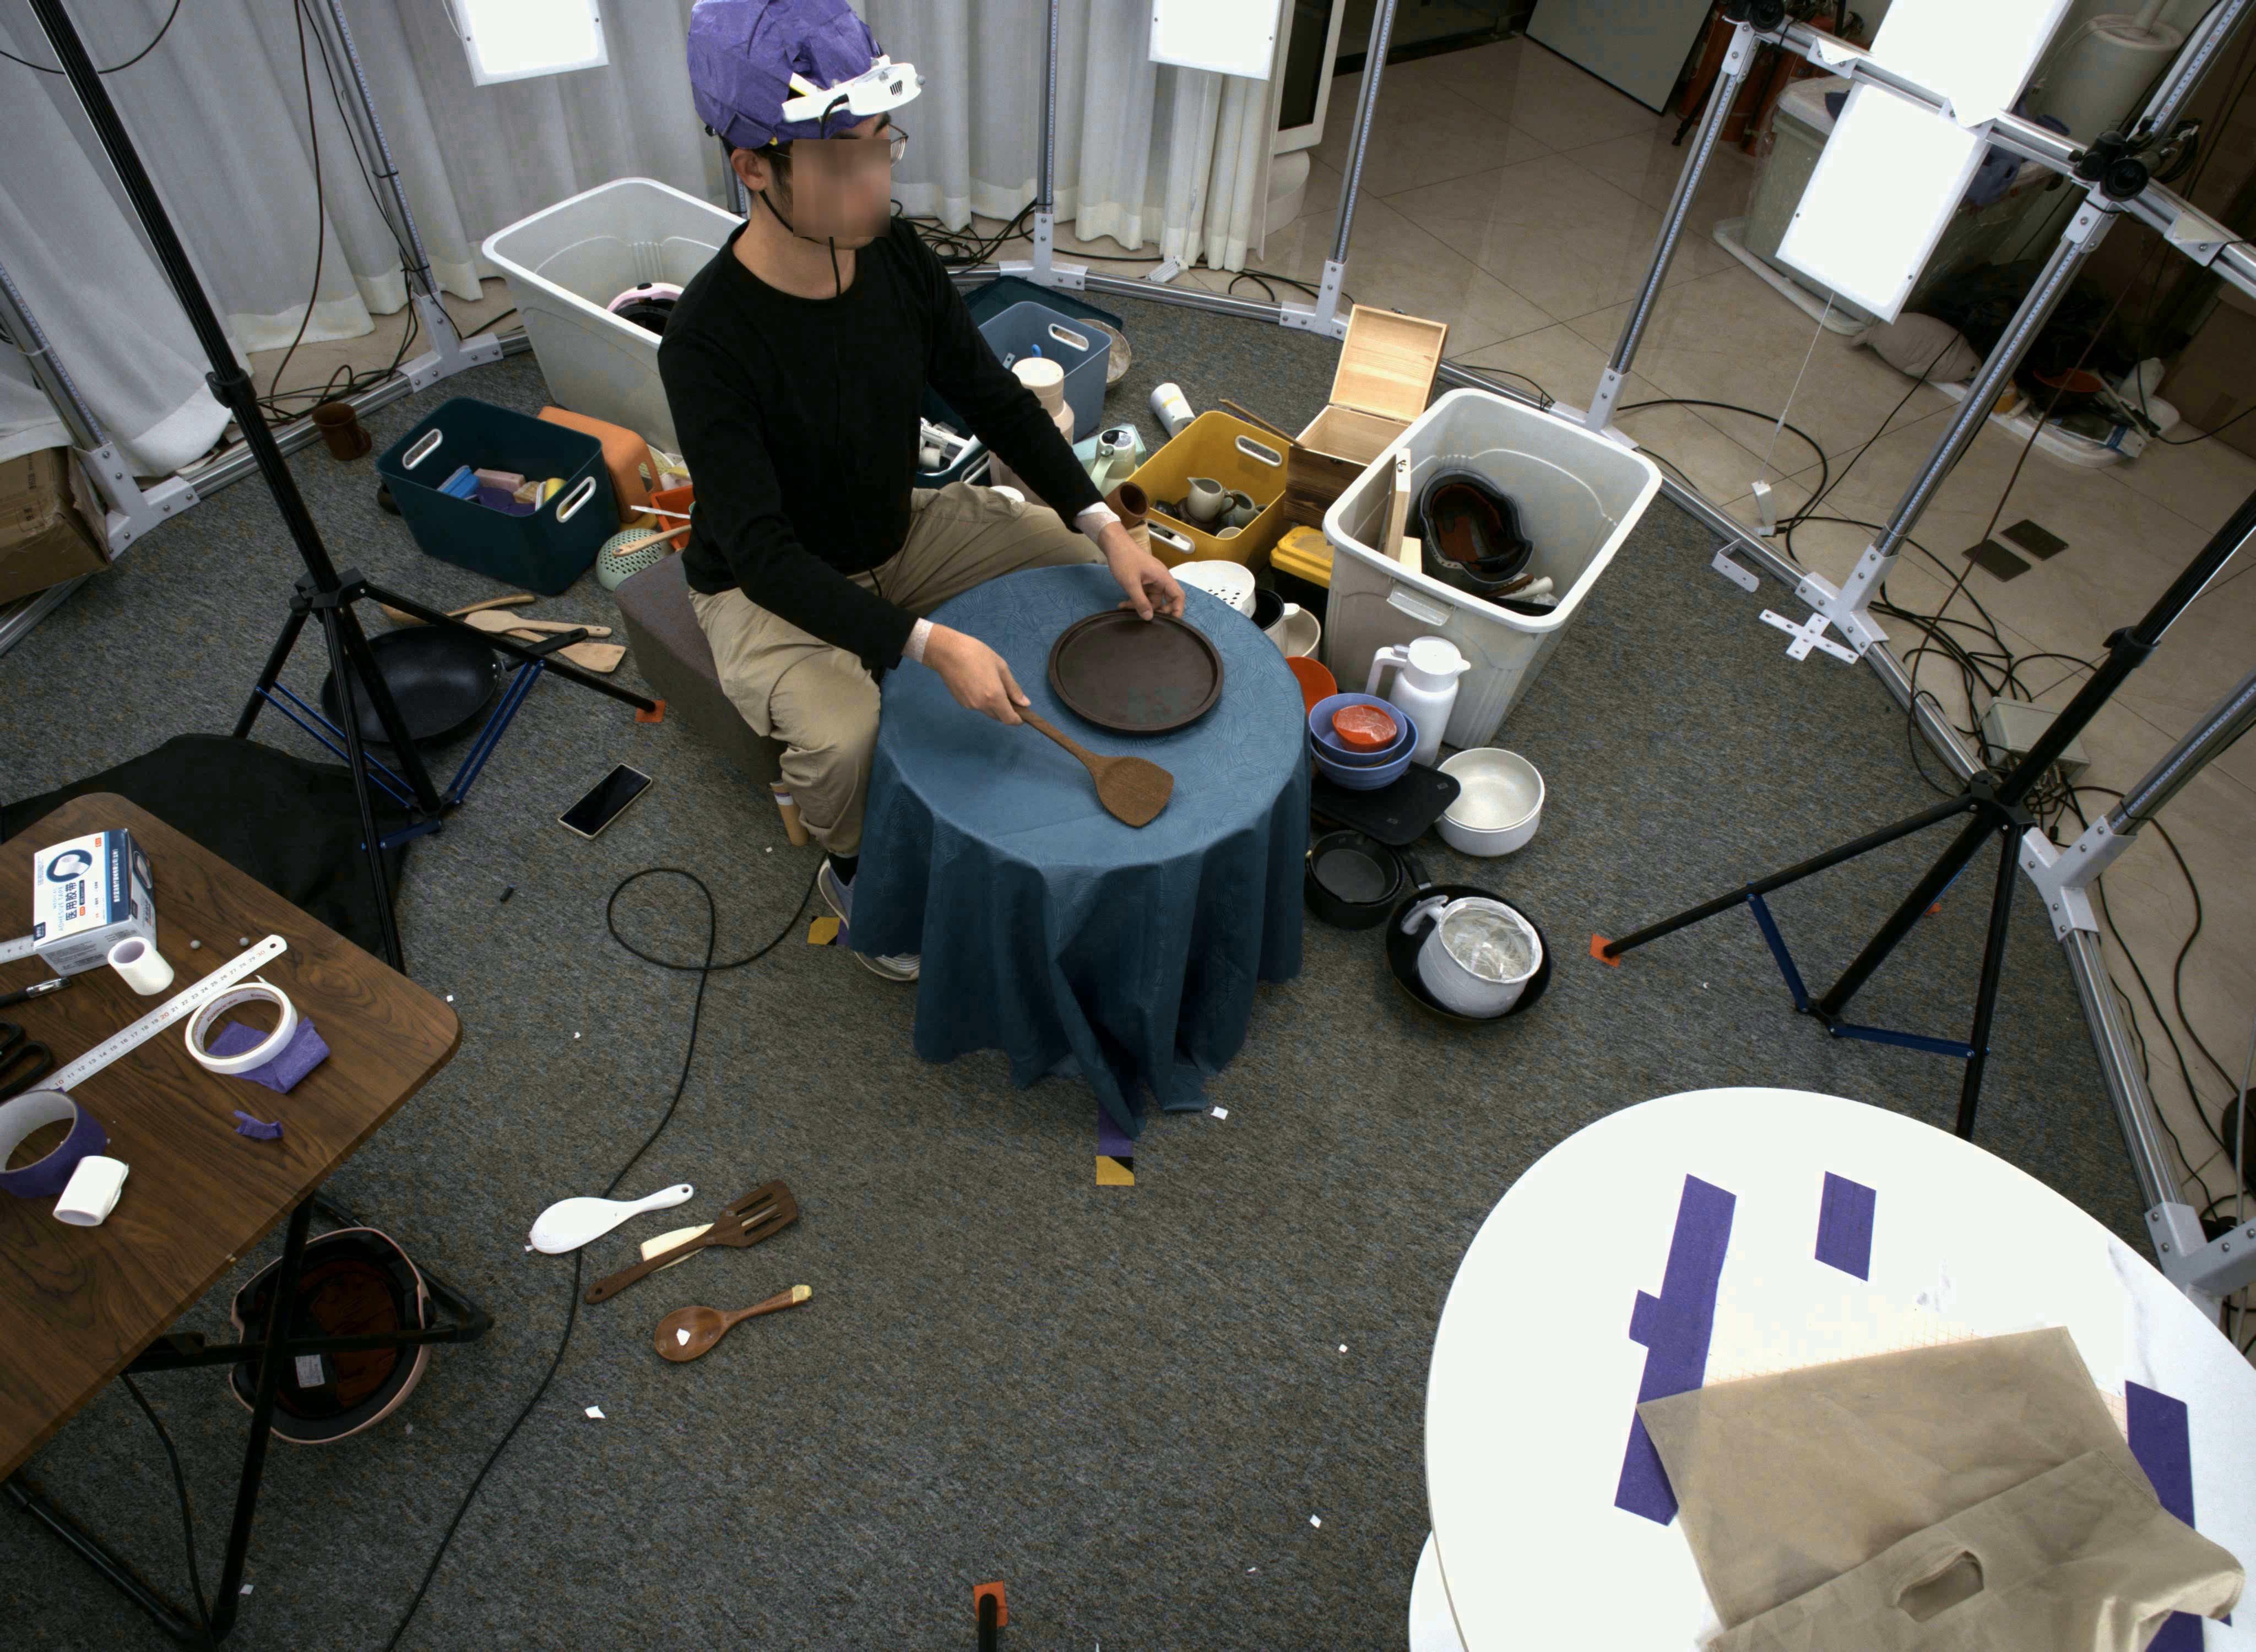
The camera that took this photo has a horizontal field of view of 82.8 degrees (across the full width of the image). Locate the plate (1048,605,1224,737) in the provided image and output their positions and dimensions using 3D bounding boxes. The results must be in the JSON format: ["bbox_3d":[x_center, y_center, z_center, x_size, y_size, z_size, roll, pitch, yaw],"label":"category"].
[{"bbox_3d":[0.011,-0.222,1.848,0.254,0.028,0.261,1,50,-2],"label":"plate"}]

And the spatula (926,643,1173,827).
[{"bbox_3d":[-0.113,-0.133,1.709,0.387,0.015,0.097,35,69,7],"label":"spatula"}]
